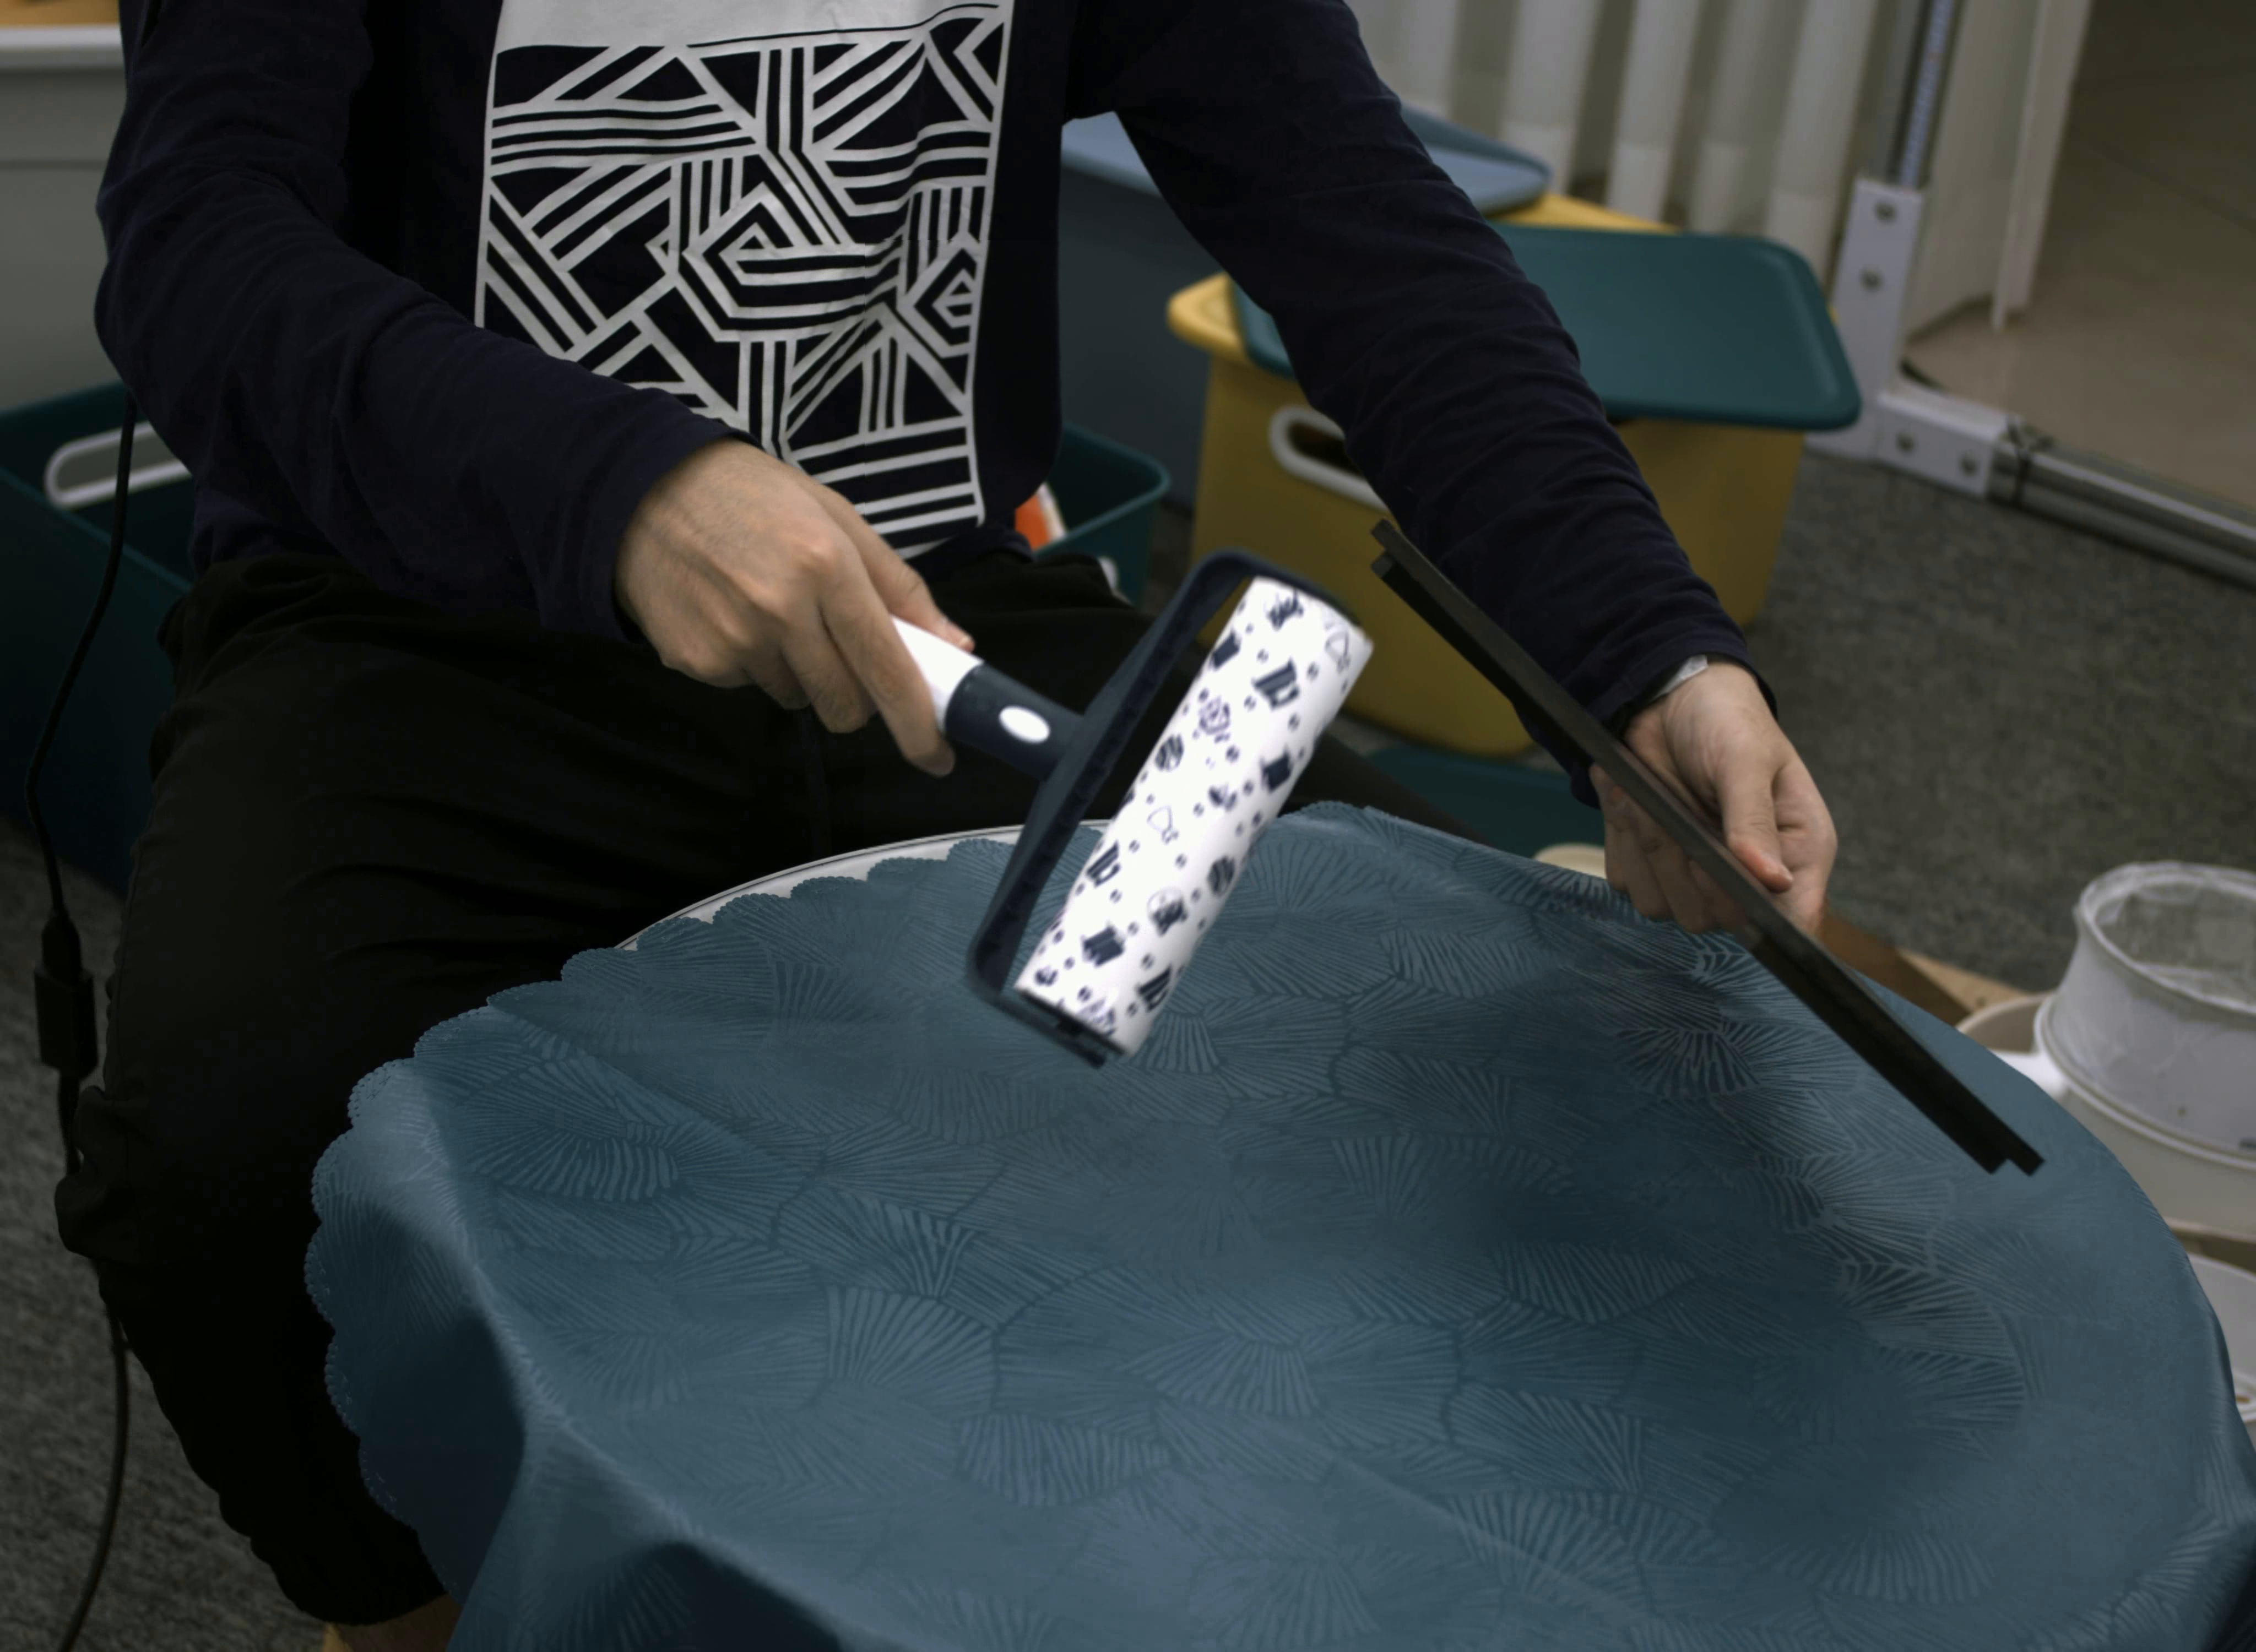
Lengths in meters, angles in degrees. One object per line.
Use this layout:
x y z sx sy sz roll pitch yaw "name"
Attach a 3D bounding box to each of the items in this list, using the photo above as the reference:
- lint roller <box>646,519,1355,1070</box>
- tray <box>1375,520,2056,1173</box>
-0.066 -0.045 1.806 0.248 0.176 0.050 28 -8 21 "lint roller"
0.195 0.006 1.833 0.168 0.018 0.309 40 6 -37 "tray"
